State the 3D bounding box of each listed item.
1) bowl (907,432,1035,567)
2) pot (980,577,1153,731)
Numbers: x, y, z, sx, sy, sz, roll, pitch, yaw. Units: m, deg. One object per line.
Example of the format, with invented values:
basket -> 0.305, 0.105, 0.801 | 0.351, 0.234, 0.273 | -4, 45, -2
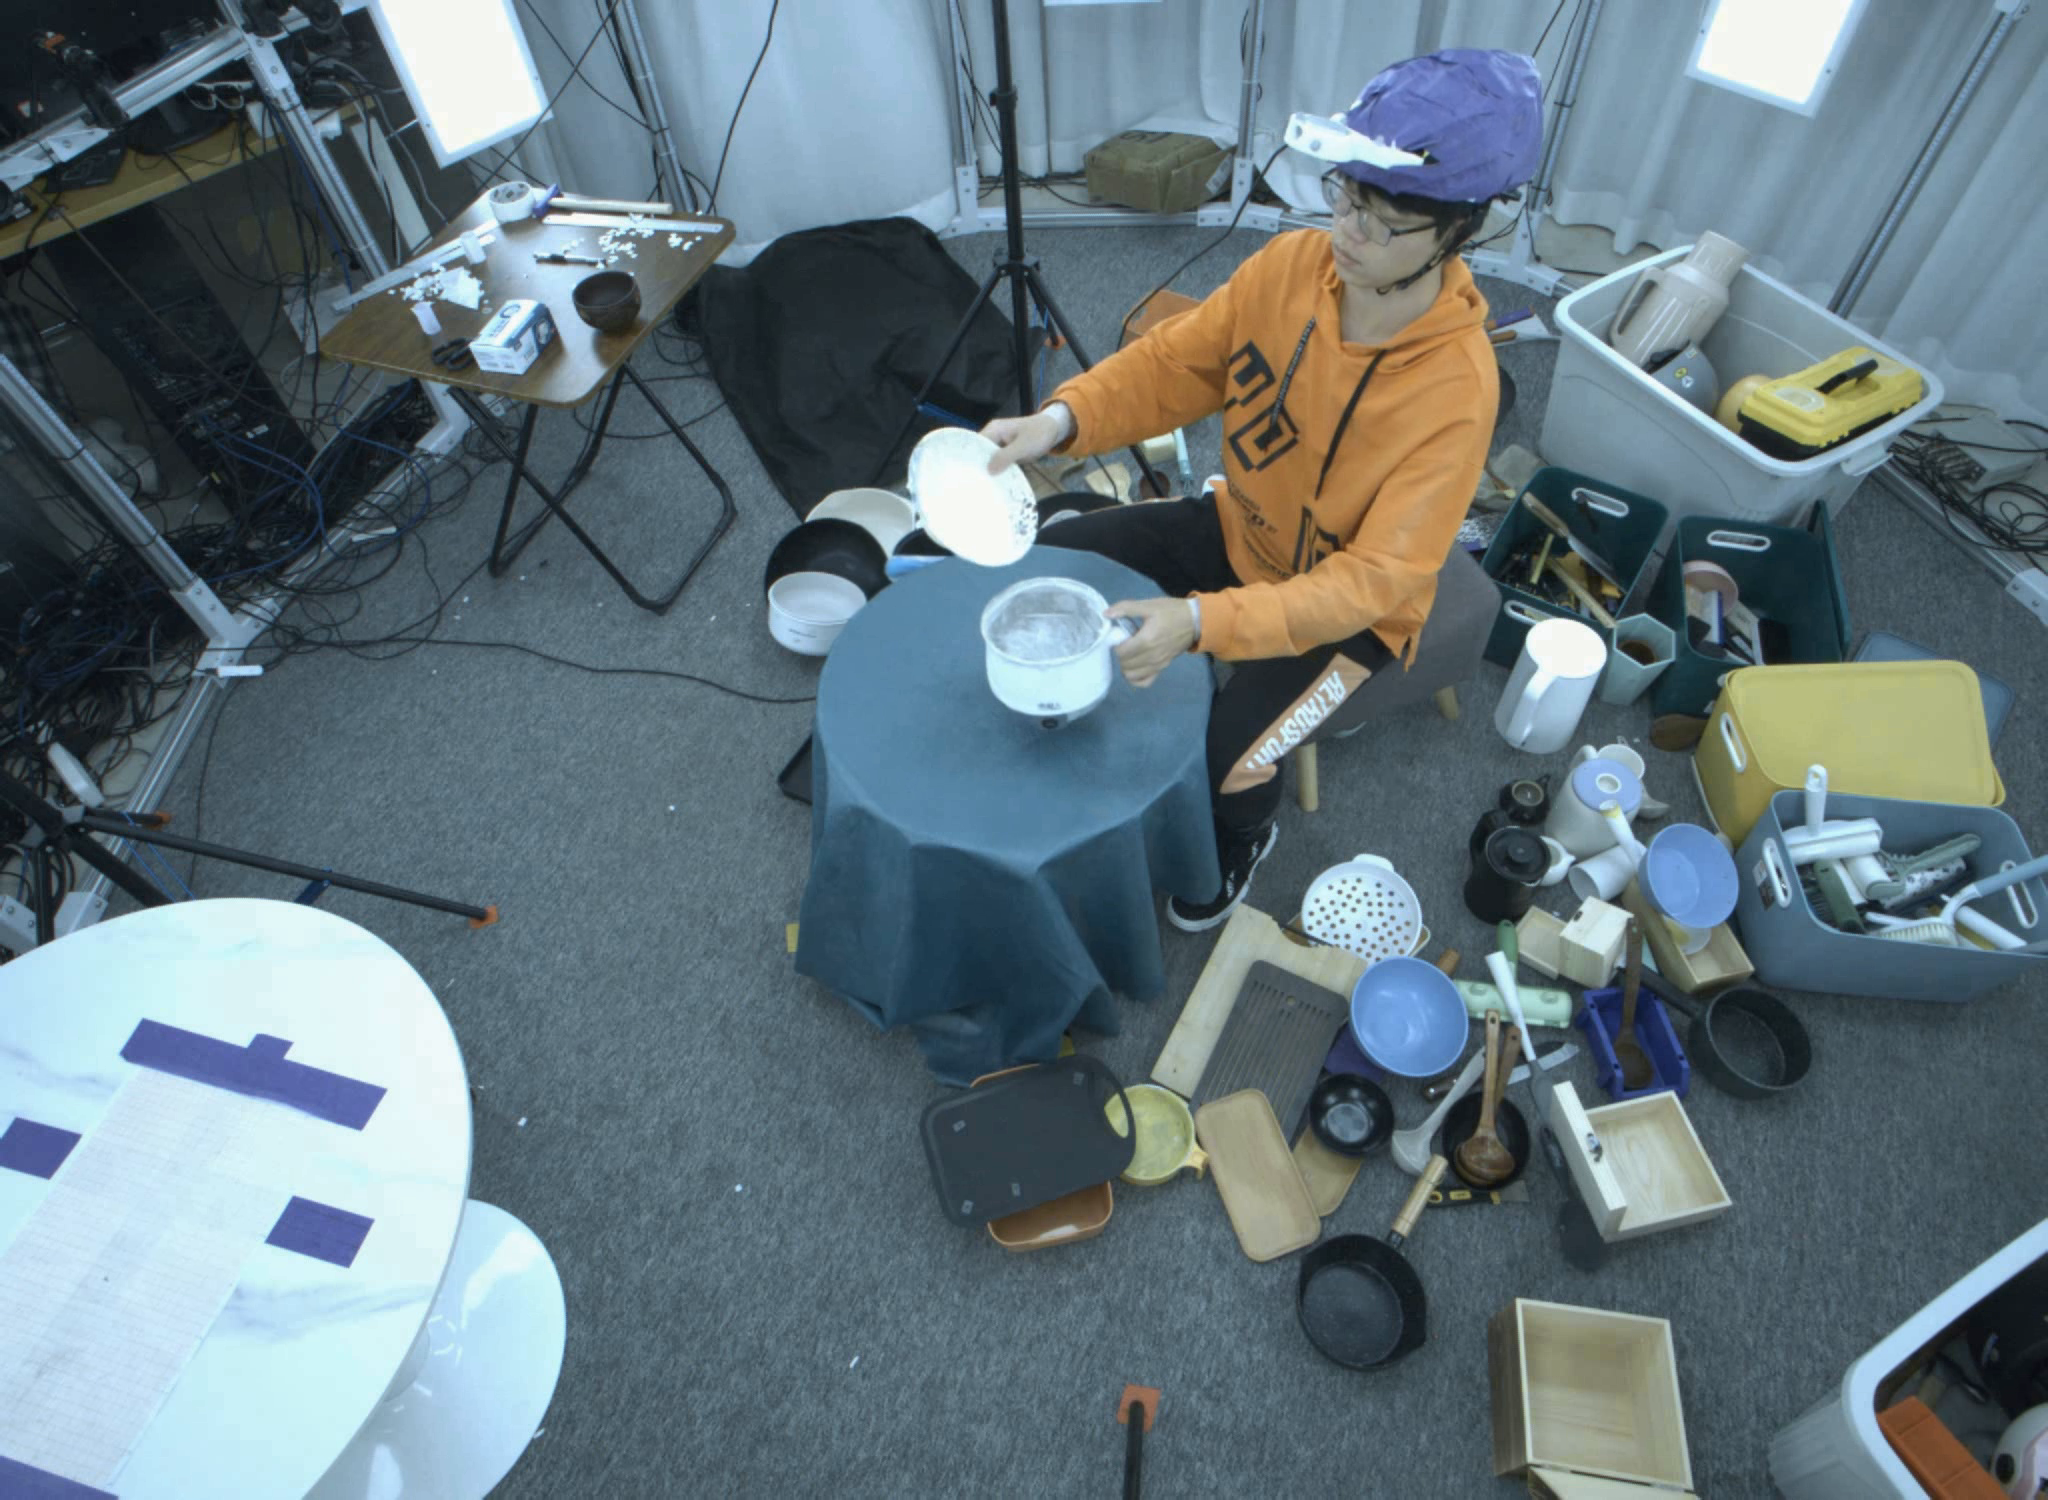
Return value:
bowl -> -0.090, -0.324, 1.644 | 0.208, 0.077, 0.202 | 17, 61, -33
pot -> 0.061, -0.134, 1.704 | 0.233, 0.138, 0.176 | -3, 49, 2
